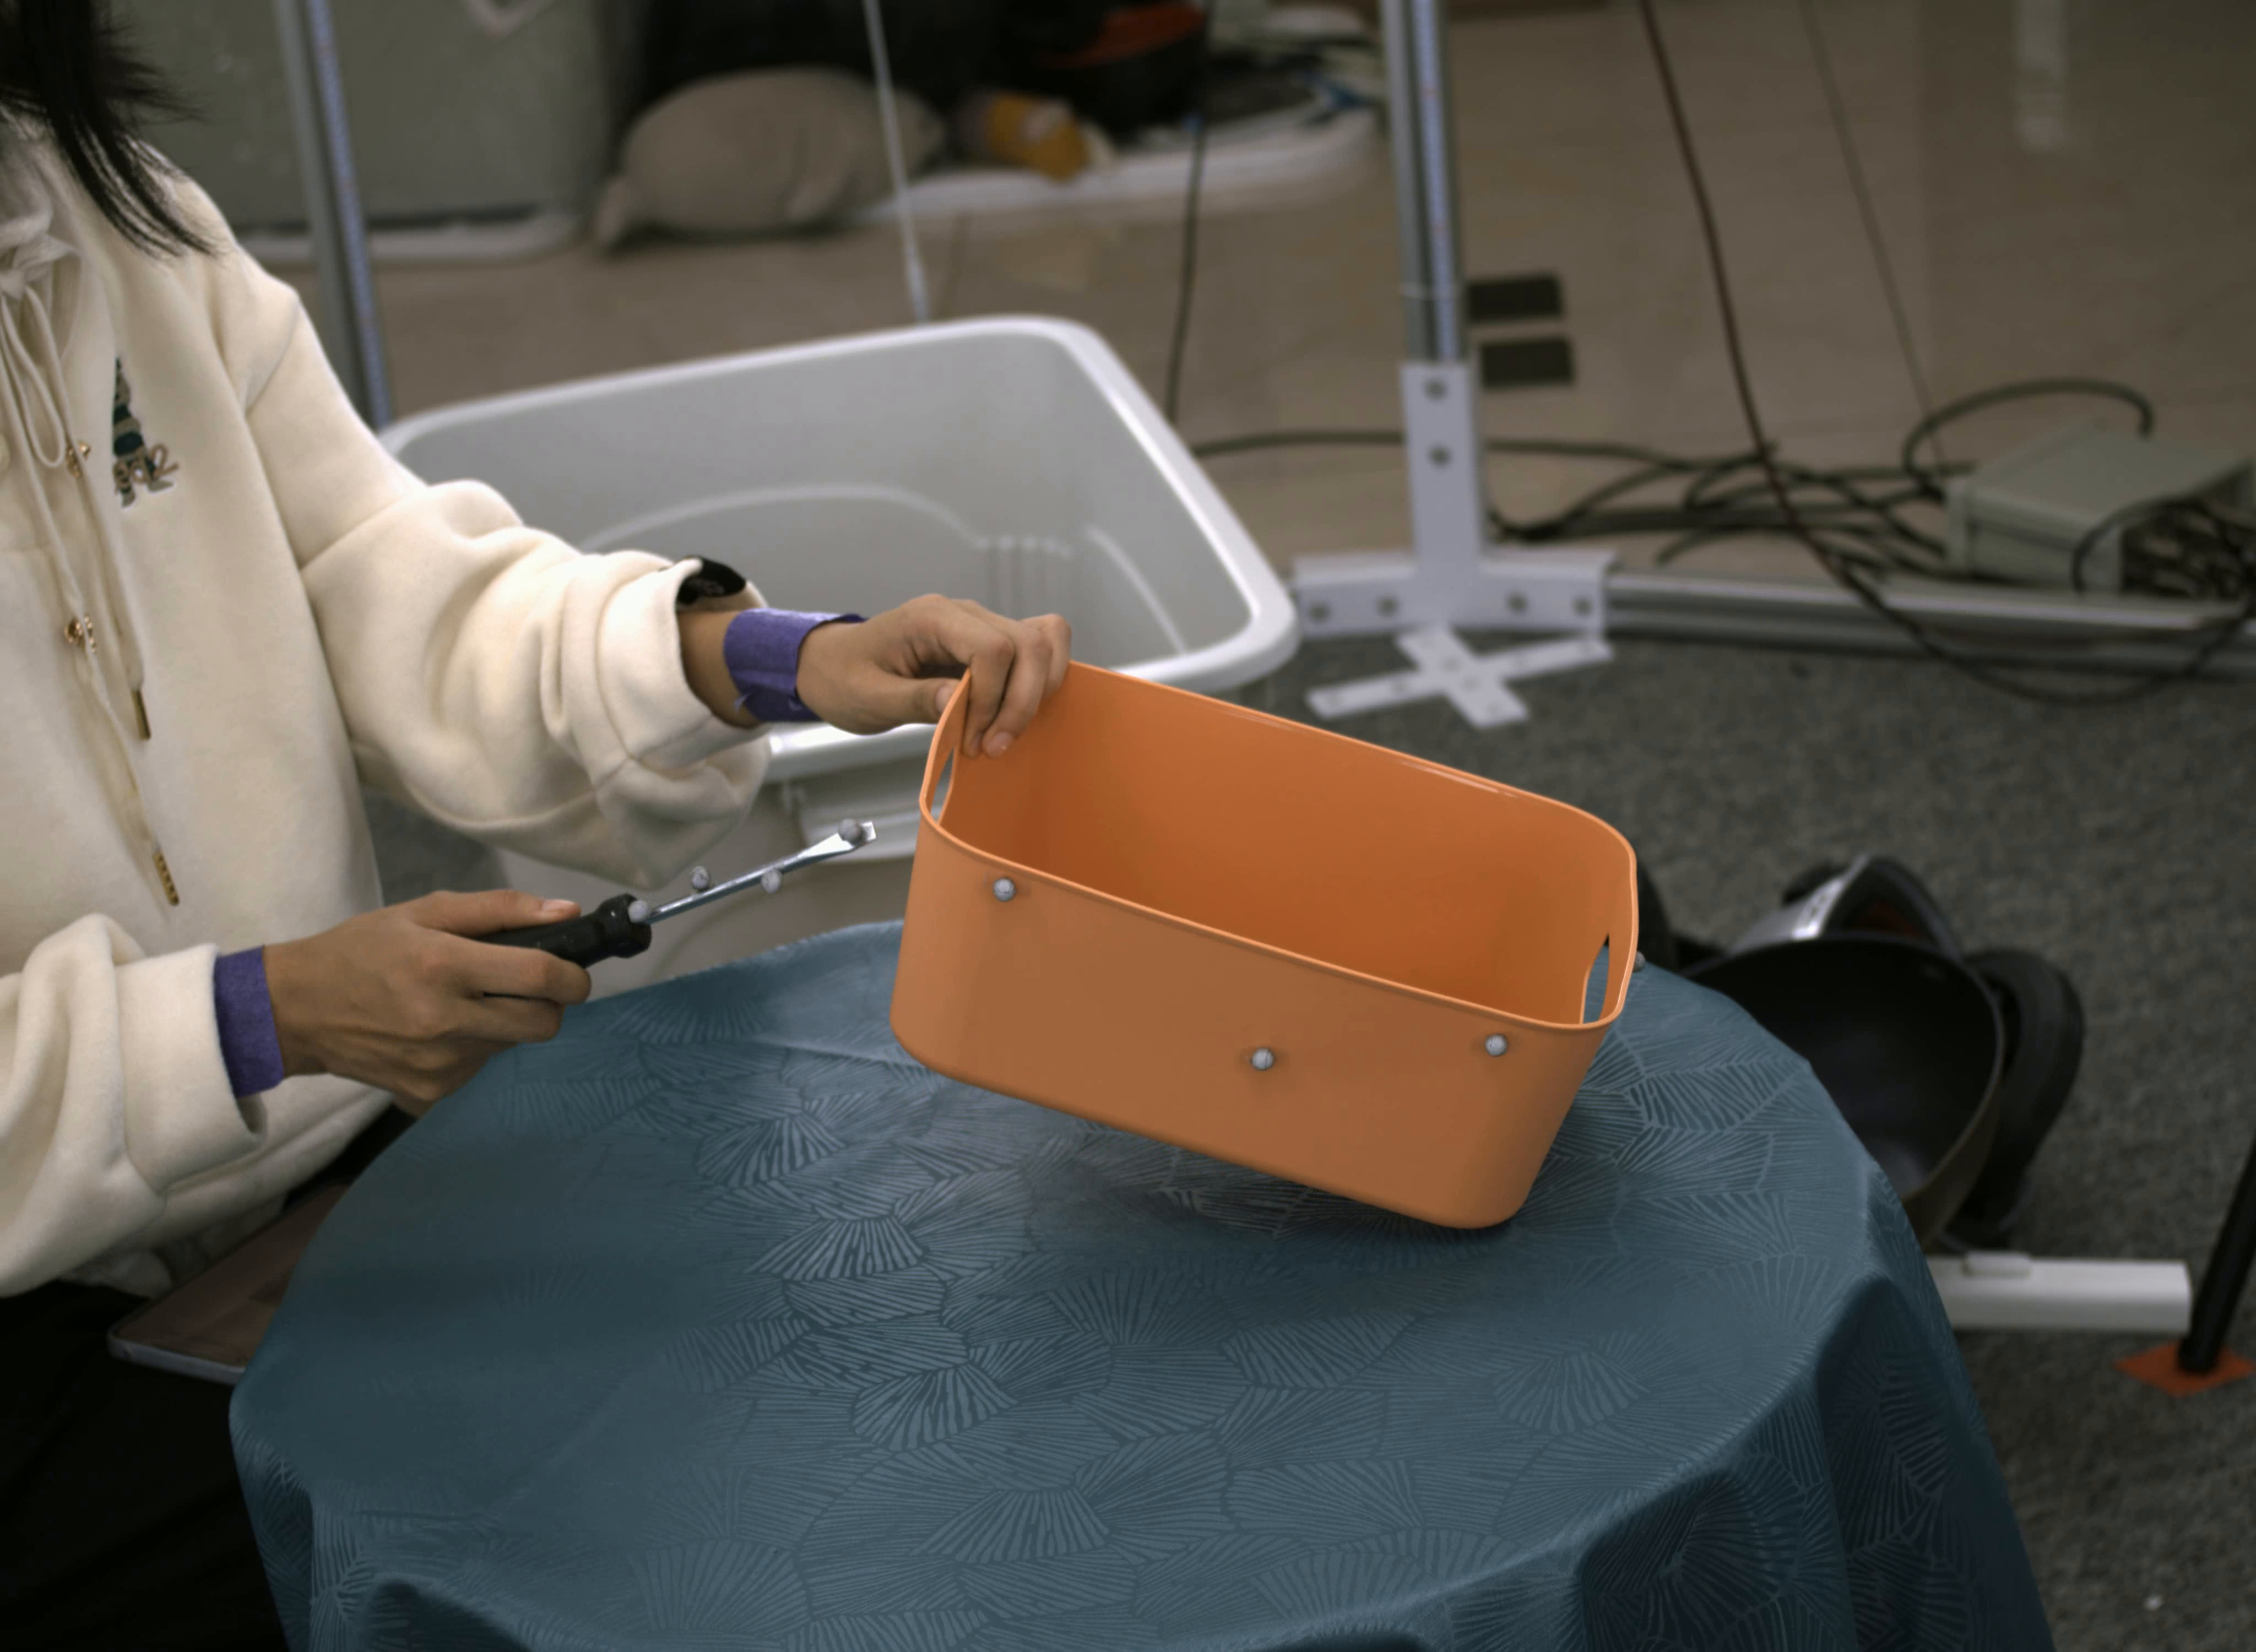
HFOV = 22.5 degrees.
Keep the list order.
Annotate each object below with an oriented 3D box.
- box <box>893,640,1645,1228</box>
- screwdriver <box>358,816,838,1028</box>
[{"bbox_3d":[0.049,0.042,2.131,0.273,0.104,0.196,17,28,0],"label":"box"},{"bbox_3d":[-0.197,0.029,2.102,0.198,0.032,0.031,-23,23,12],"label":"screwdriver"}]
